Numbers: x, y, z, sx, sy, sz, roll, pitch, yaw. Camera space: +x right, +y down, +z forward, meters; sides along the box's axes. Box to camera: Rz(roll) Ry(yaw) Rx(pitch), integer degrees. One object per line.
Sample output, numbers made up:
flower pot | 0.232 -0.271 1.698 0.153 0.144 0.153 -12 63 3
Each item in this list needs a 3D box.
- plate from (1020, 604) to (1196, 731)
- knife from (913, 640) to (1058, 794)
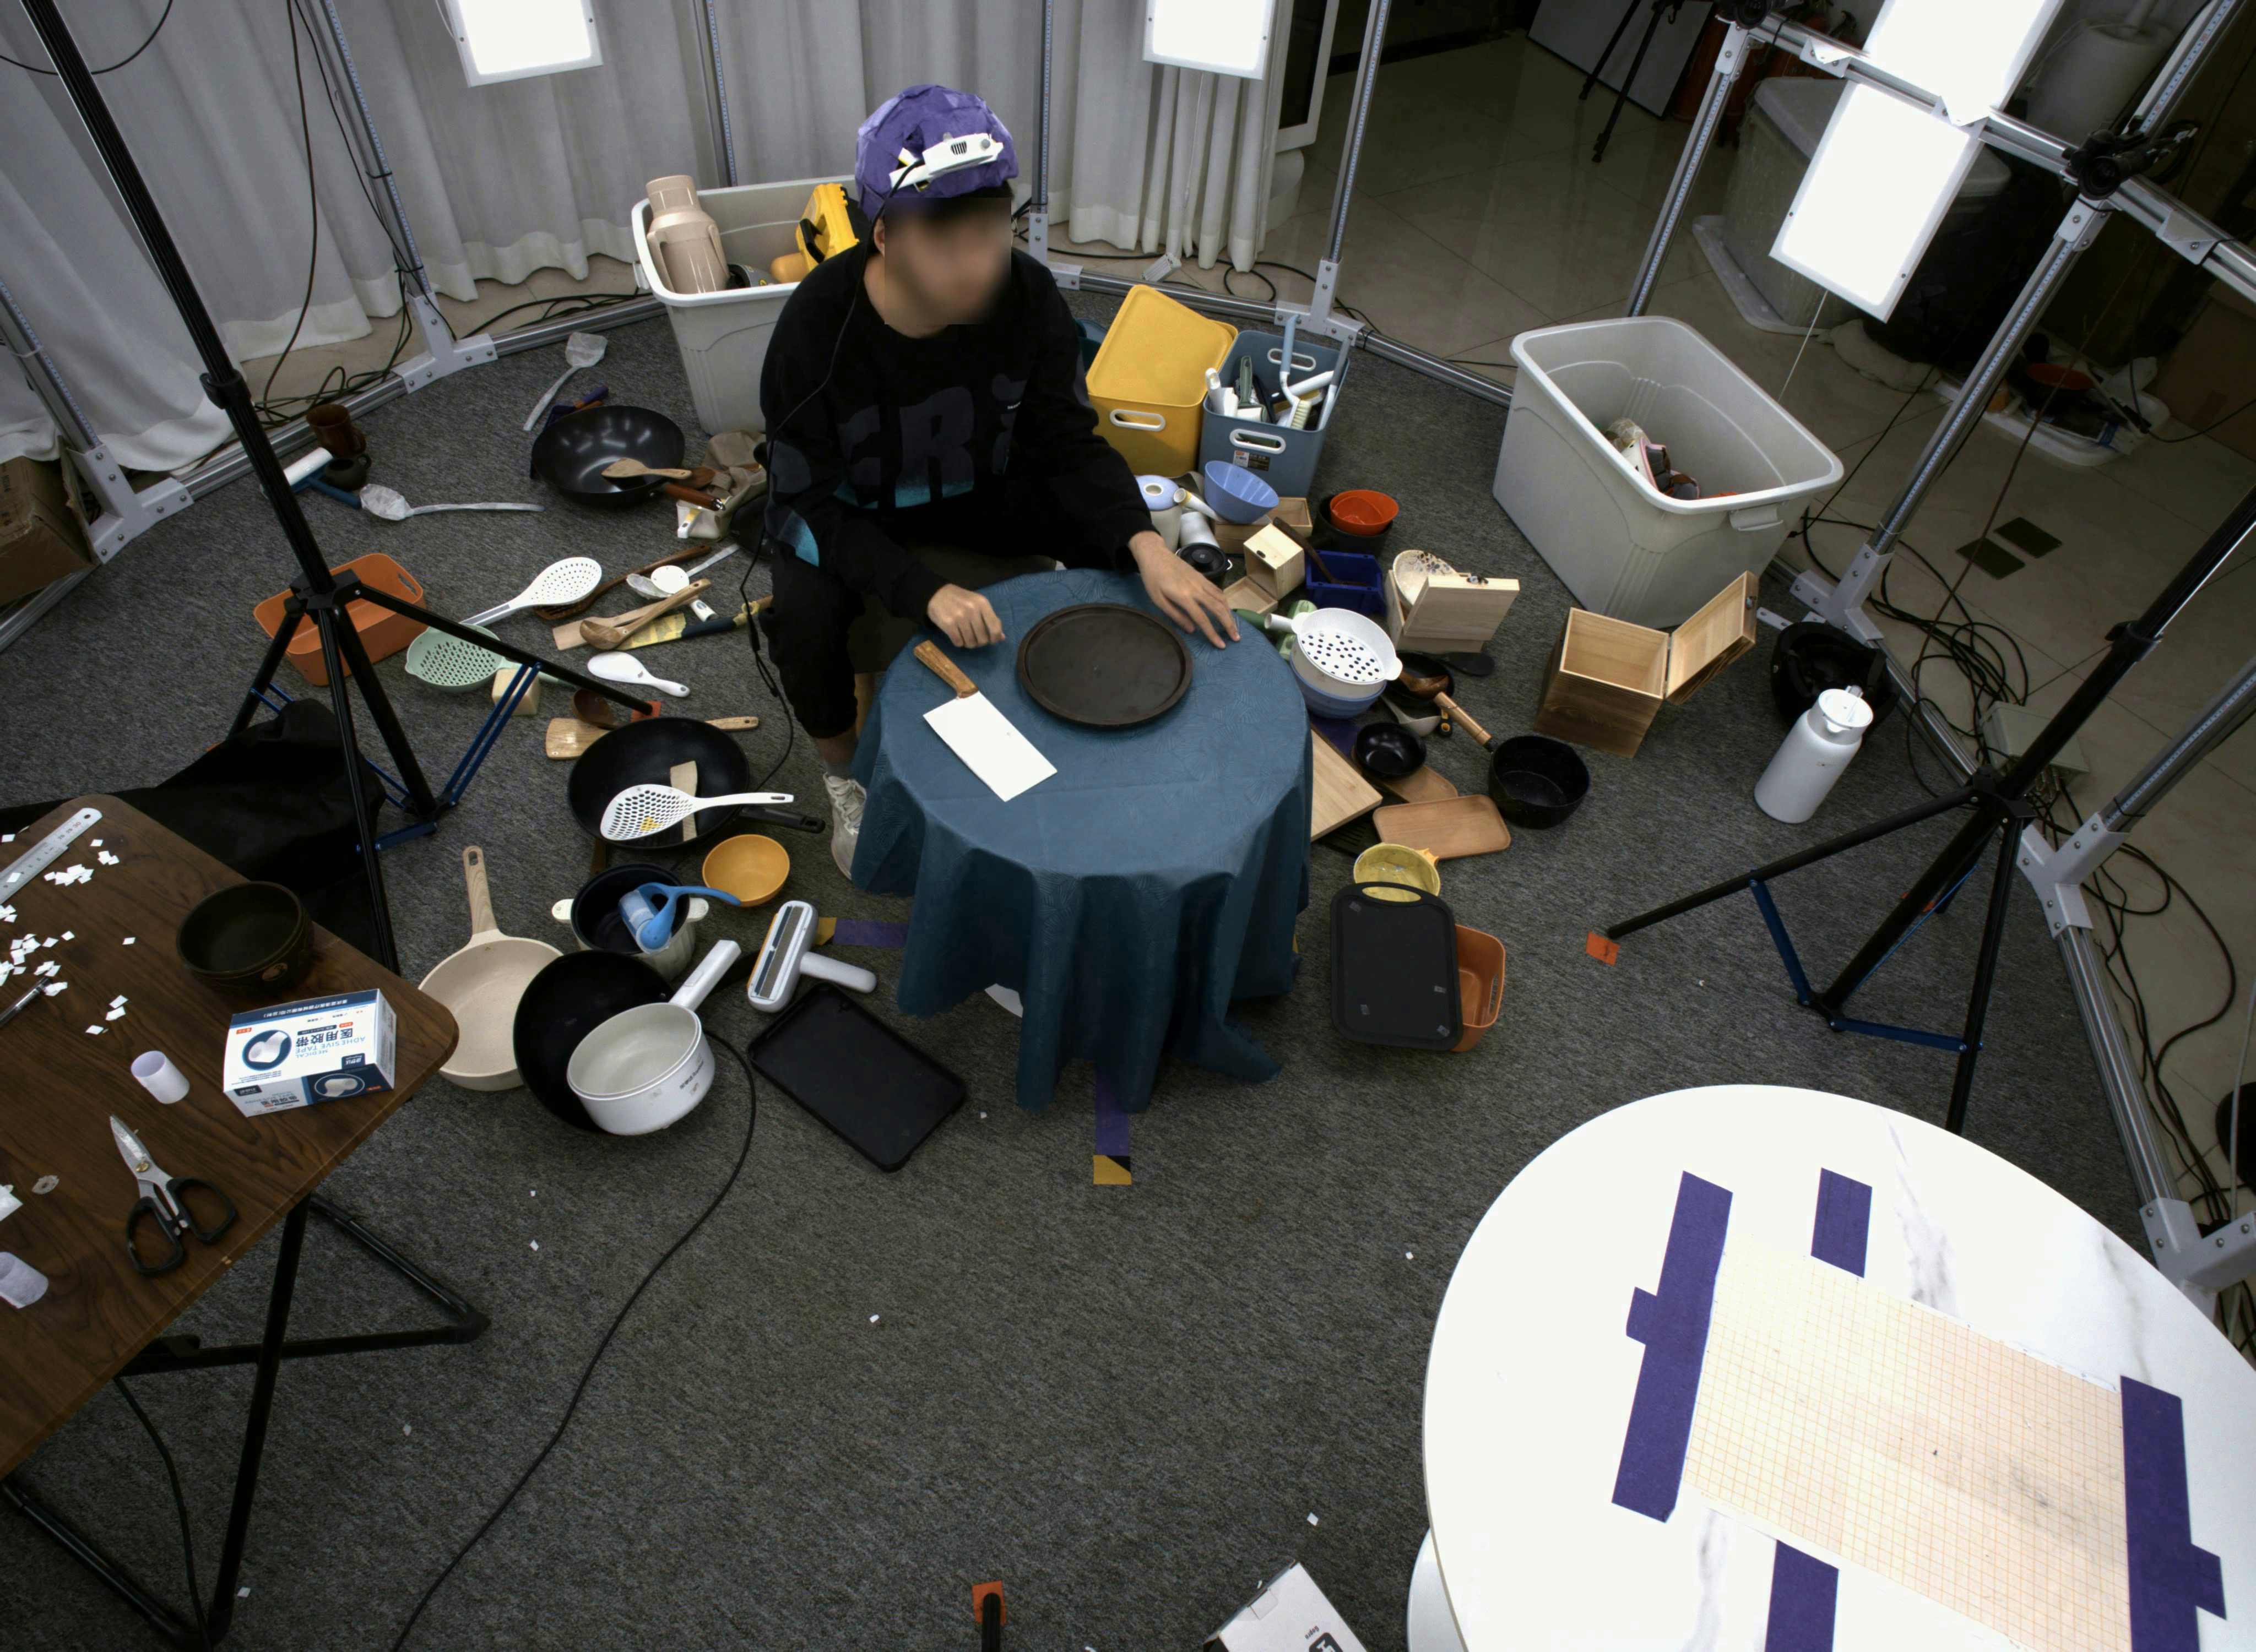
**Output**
plate | -0.029 -0.230 1.850 0.254 0.028 0.261 1 51 -2
knife | -0.220 -0.150 1.775 0.093 0.020 0.311 -31 60 -25
